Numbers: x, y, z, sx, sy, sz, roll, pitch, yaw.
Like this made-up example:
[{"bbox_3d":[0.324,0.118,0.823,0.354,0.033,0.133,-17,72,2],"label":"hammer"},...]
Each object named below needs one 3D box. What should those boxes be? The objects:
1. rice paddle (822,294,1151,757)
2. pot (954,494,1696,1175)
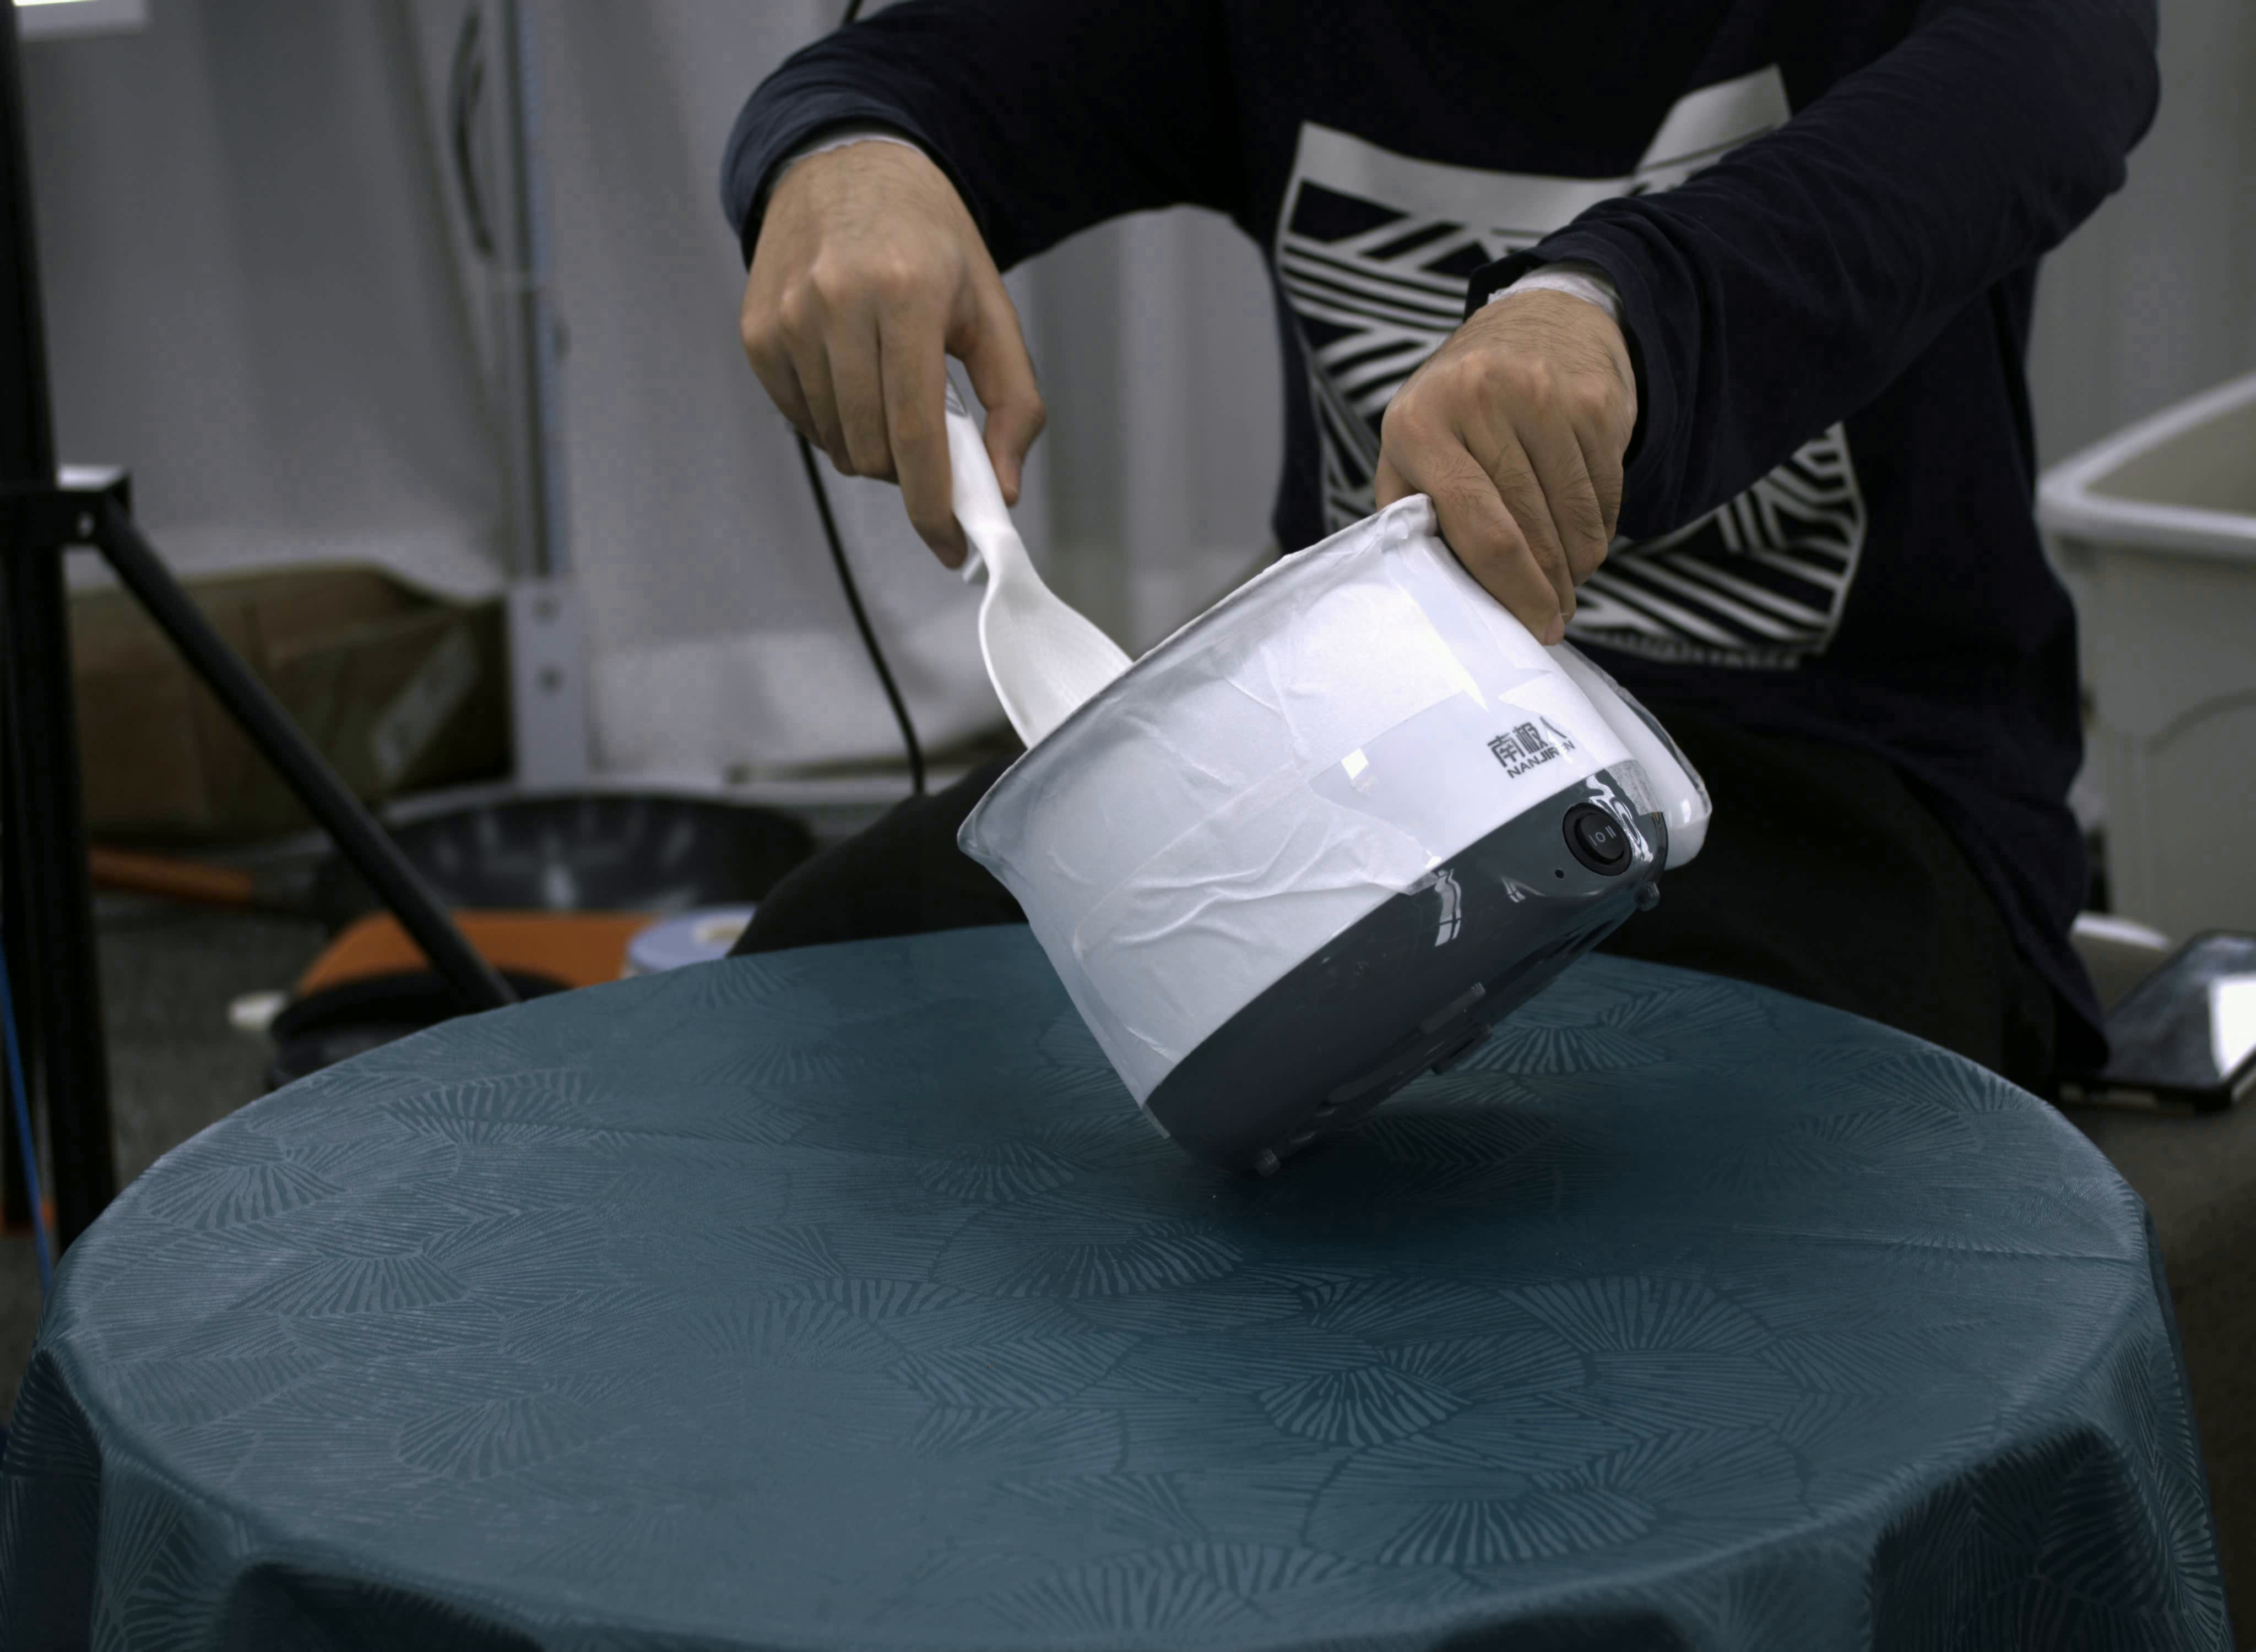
[{"bbox_3d":[-0.038,-0.082,1.652,0.067,0.029,0.209,2,47,-42],"label":"rice paddle"},{"bbox_3d":[0.074,-0.002,1.576,0.229,0.137,0.181,-27,-10,-47],"label":"pot"}]
